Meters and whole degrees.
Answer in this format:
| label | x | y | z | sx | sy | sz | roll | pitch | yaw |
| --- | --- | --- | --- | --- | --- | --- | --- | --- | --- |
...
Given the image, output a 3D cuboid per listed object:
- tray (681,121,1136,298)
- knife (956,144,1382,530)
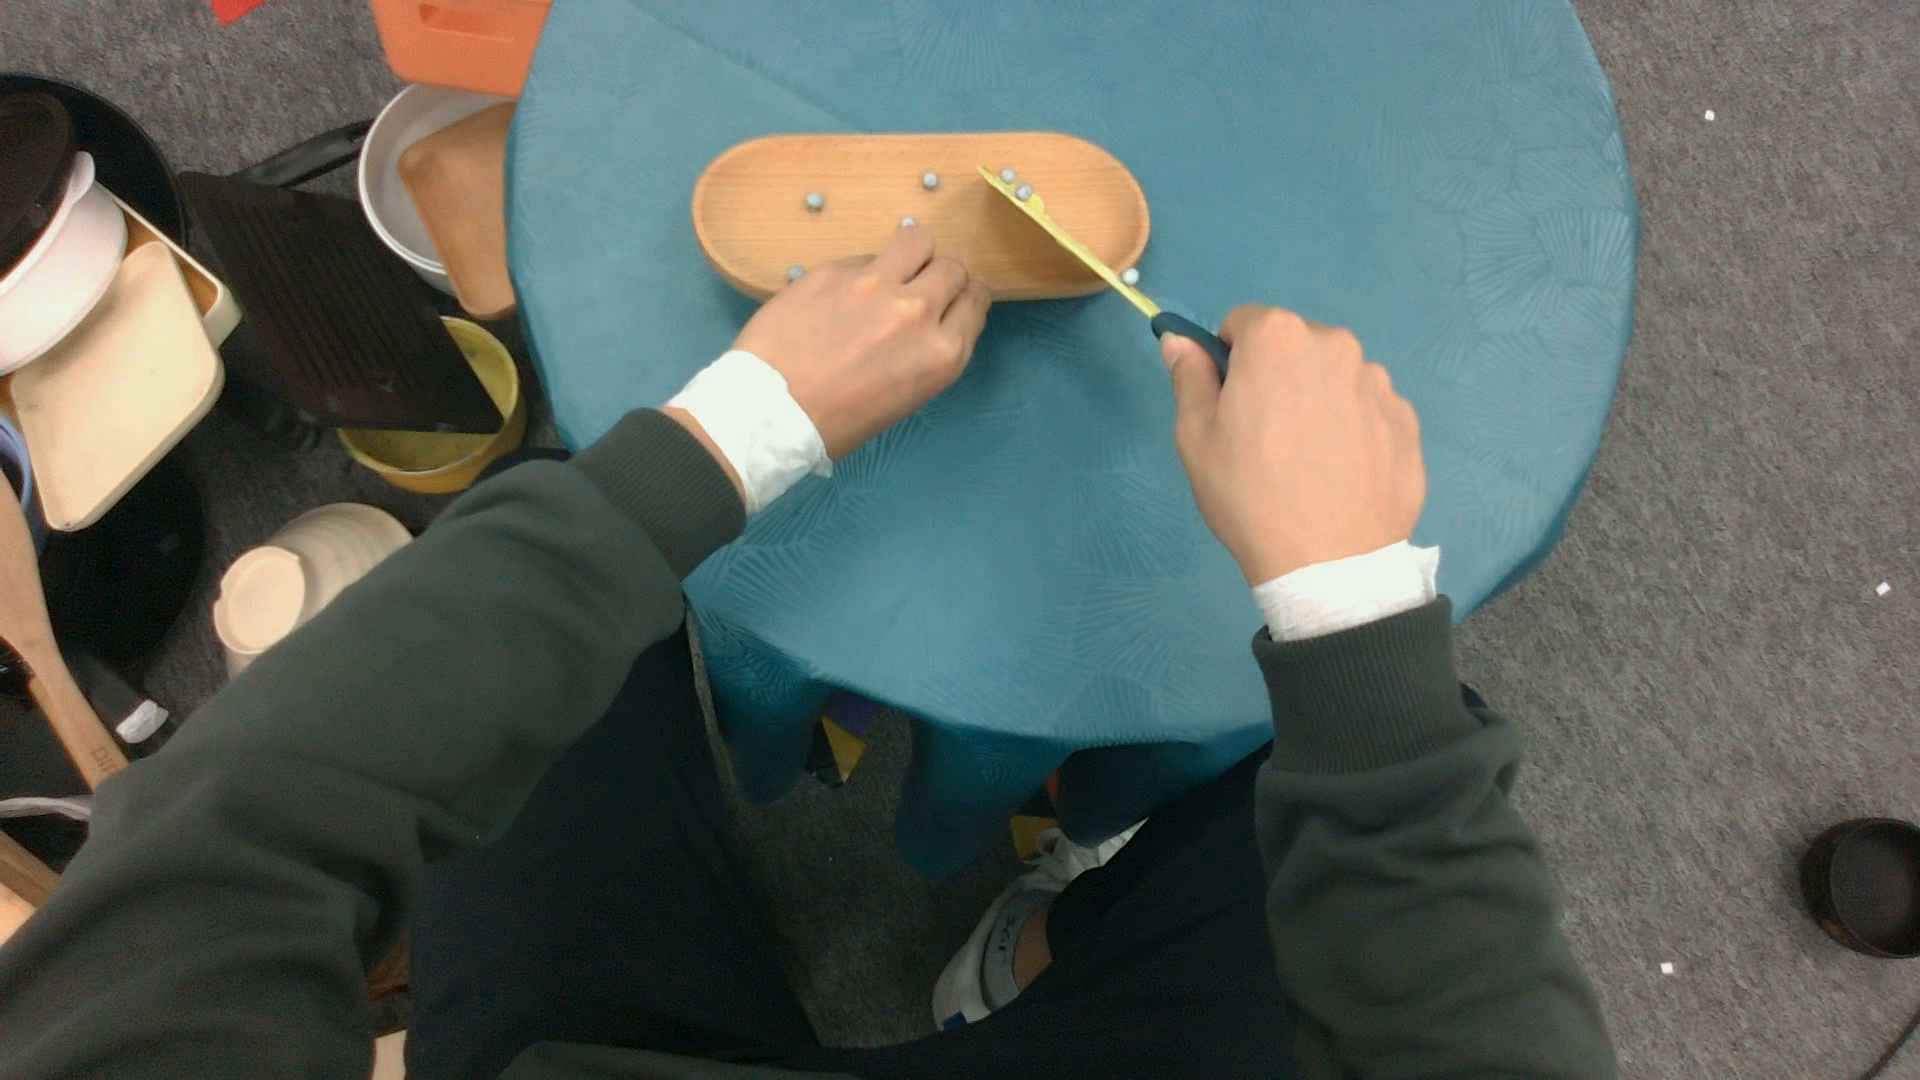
| label | x | y | z | sx | sy | sz | roll | pitch | yaw |
| --- | --- | --- | --- | --- | --- | --- | --- | --- | --- |
| tray | -0.023 | -0.167 | 0.694 | 0.231 | 0.020 | 0.102 | -5 | 64 | -15 |
| knife | 0.086 | -0.103 | 0.627 | 0.027 | 0.081 | 0.290 | -51 | 59 | 18 |
